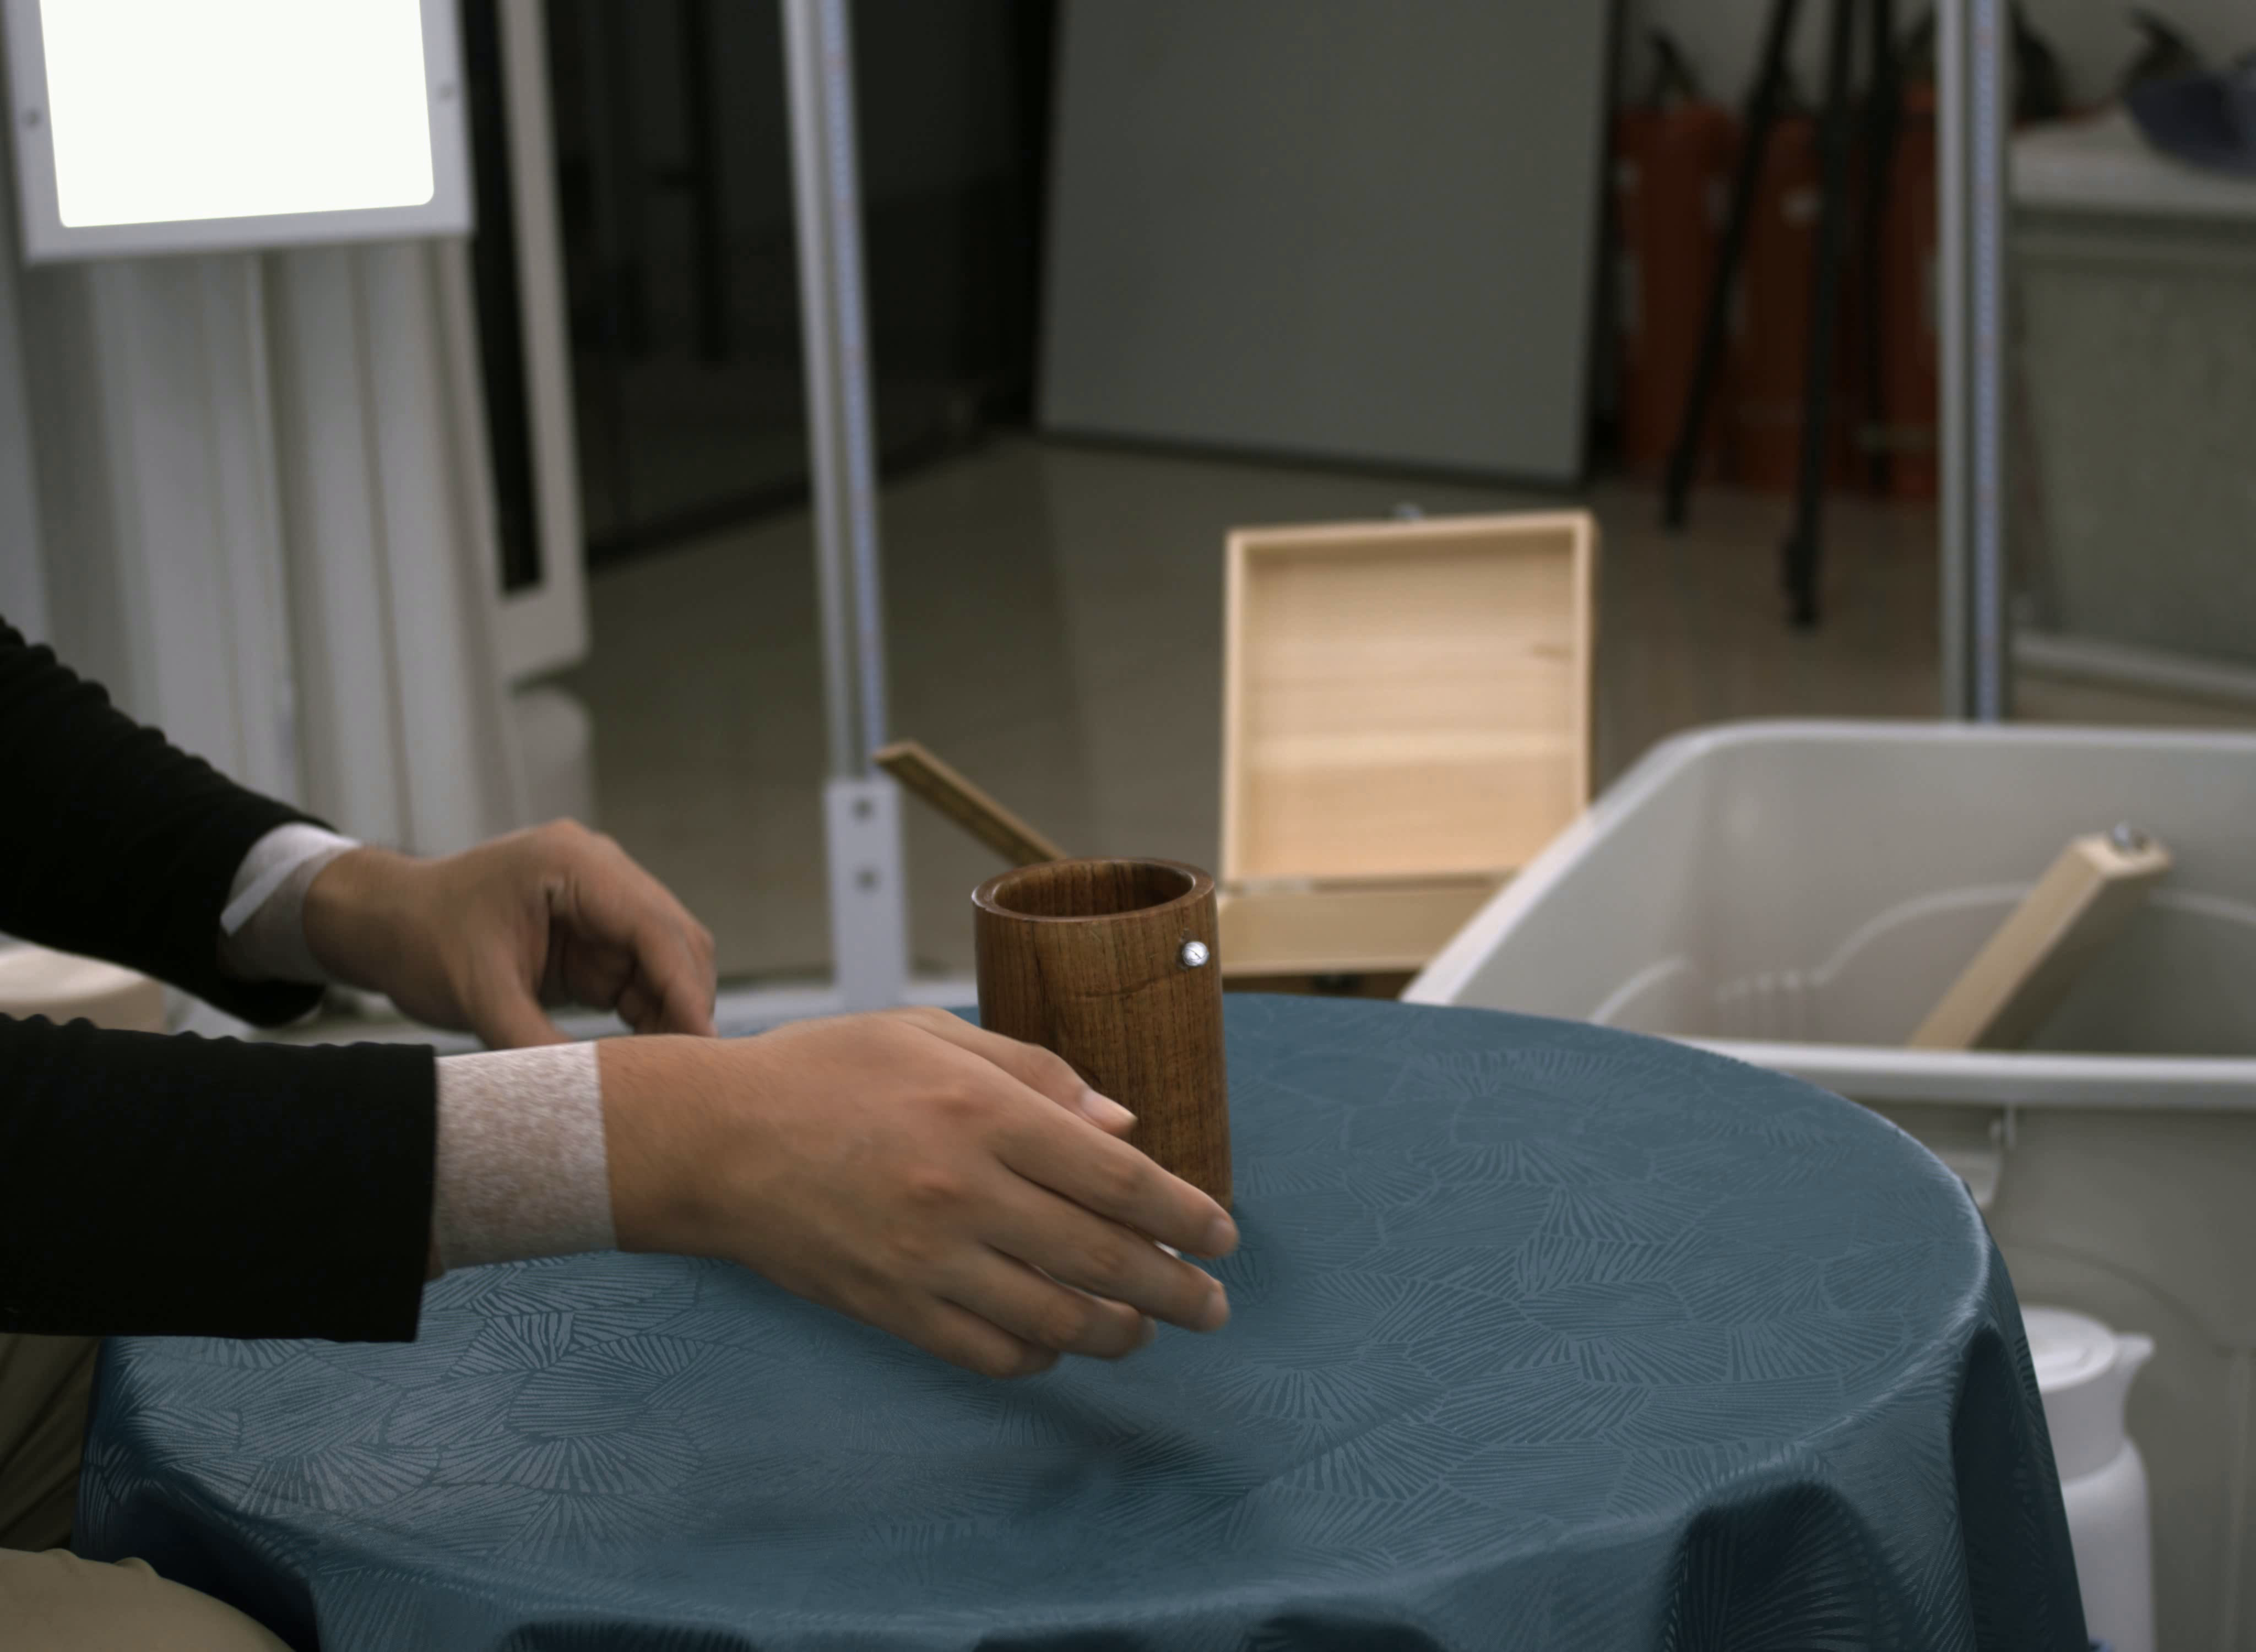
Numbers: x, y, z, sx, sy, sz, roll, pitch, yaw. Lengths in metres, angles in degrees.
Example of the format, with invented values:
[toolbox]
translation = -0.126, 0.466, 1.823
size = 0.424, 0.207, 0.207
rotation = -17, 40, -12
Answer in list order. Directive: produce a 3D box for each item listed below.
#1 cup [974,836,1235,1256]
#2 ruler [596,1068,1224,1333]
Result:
[cup]
translation = -0.007, 0.070, 1.733
size = 0.086, 0.120, 0.088
rotation = -4, 12, 0
[ruler]
translation = -0.075, 0.111, 1.667
size = 0.027, 0.022, 0.335
rotation = -14, 16, -31
